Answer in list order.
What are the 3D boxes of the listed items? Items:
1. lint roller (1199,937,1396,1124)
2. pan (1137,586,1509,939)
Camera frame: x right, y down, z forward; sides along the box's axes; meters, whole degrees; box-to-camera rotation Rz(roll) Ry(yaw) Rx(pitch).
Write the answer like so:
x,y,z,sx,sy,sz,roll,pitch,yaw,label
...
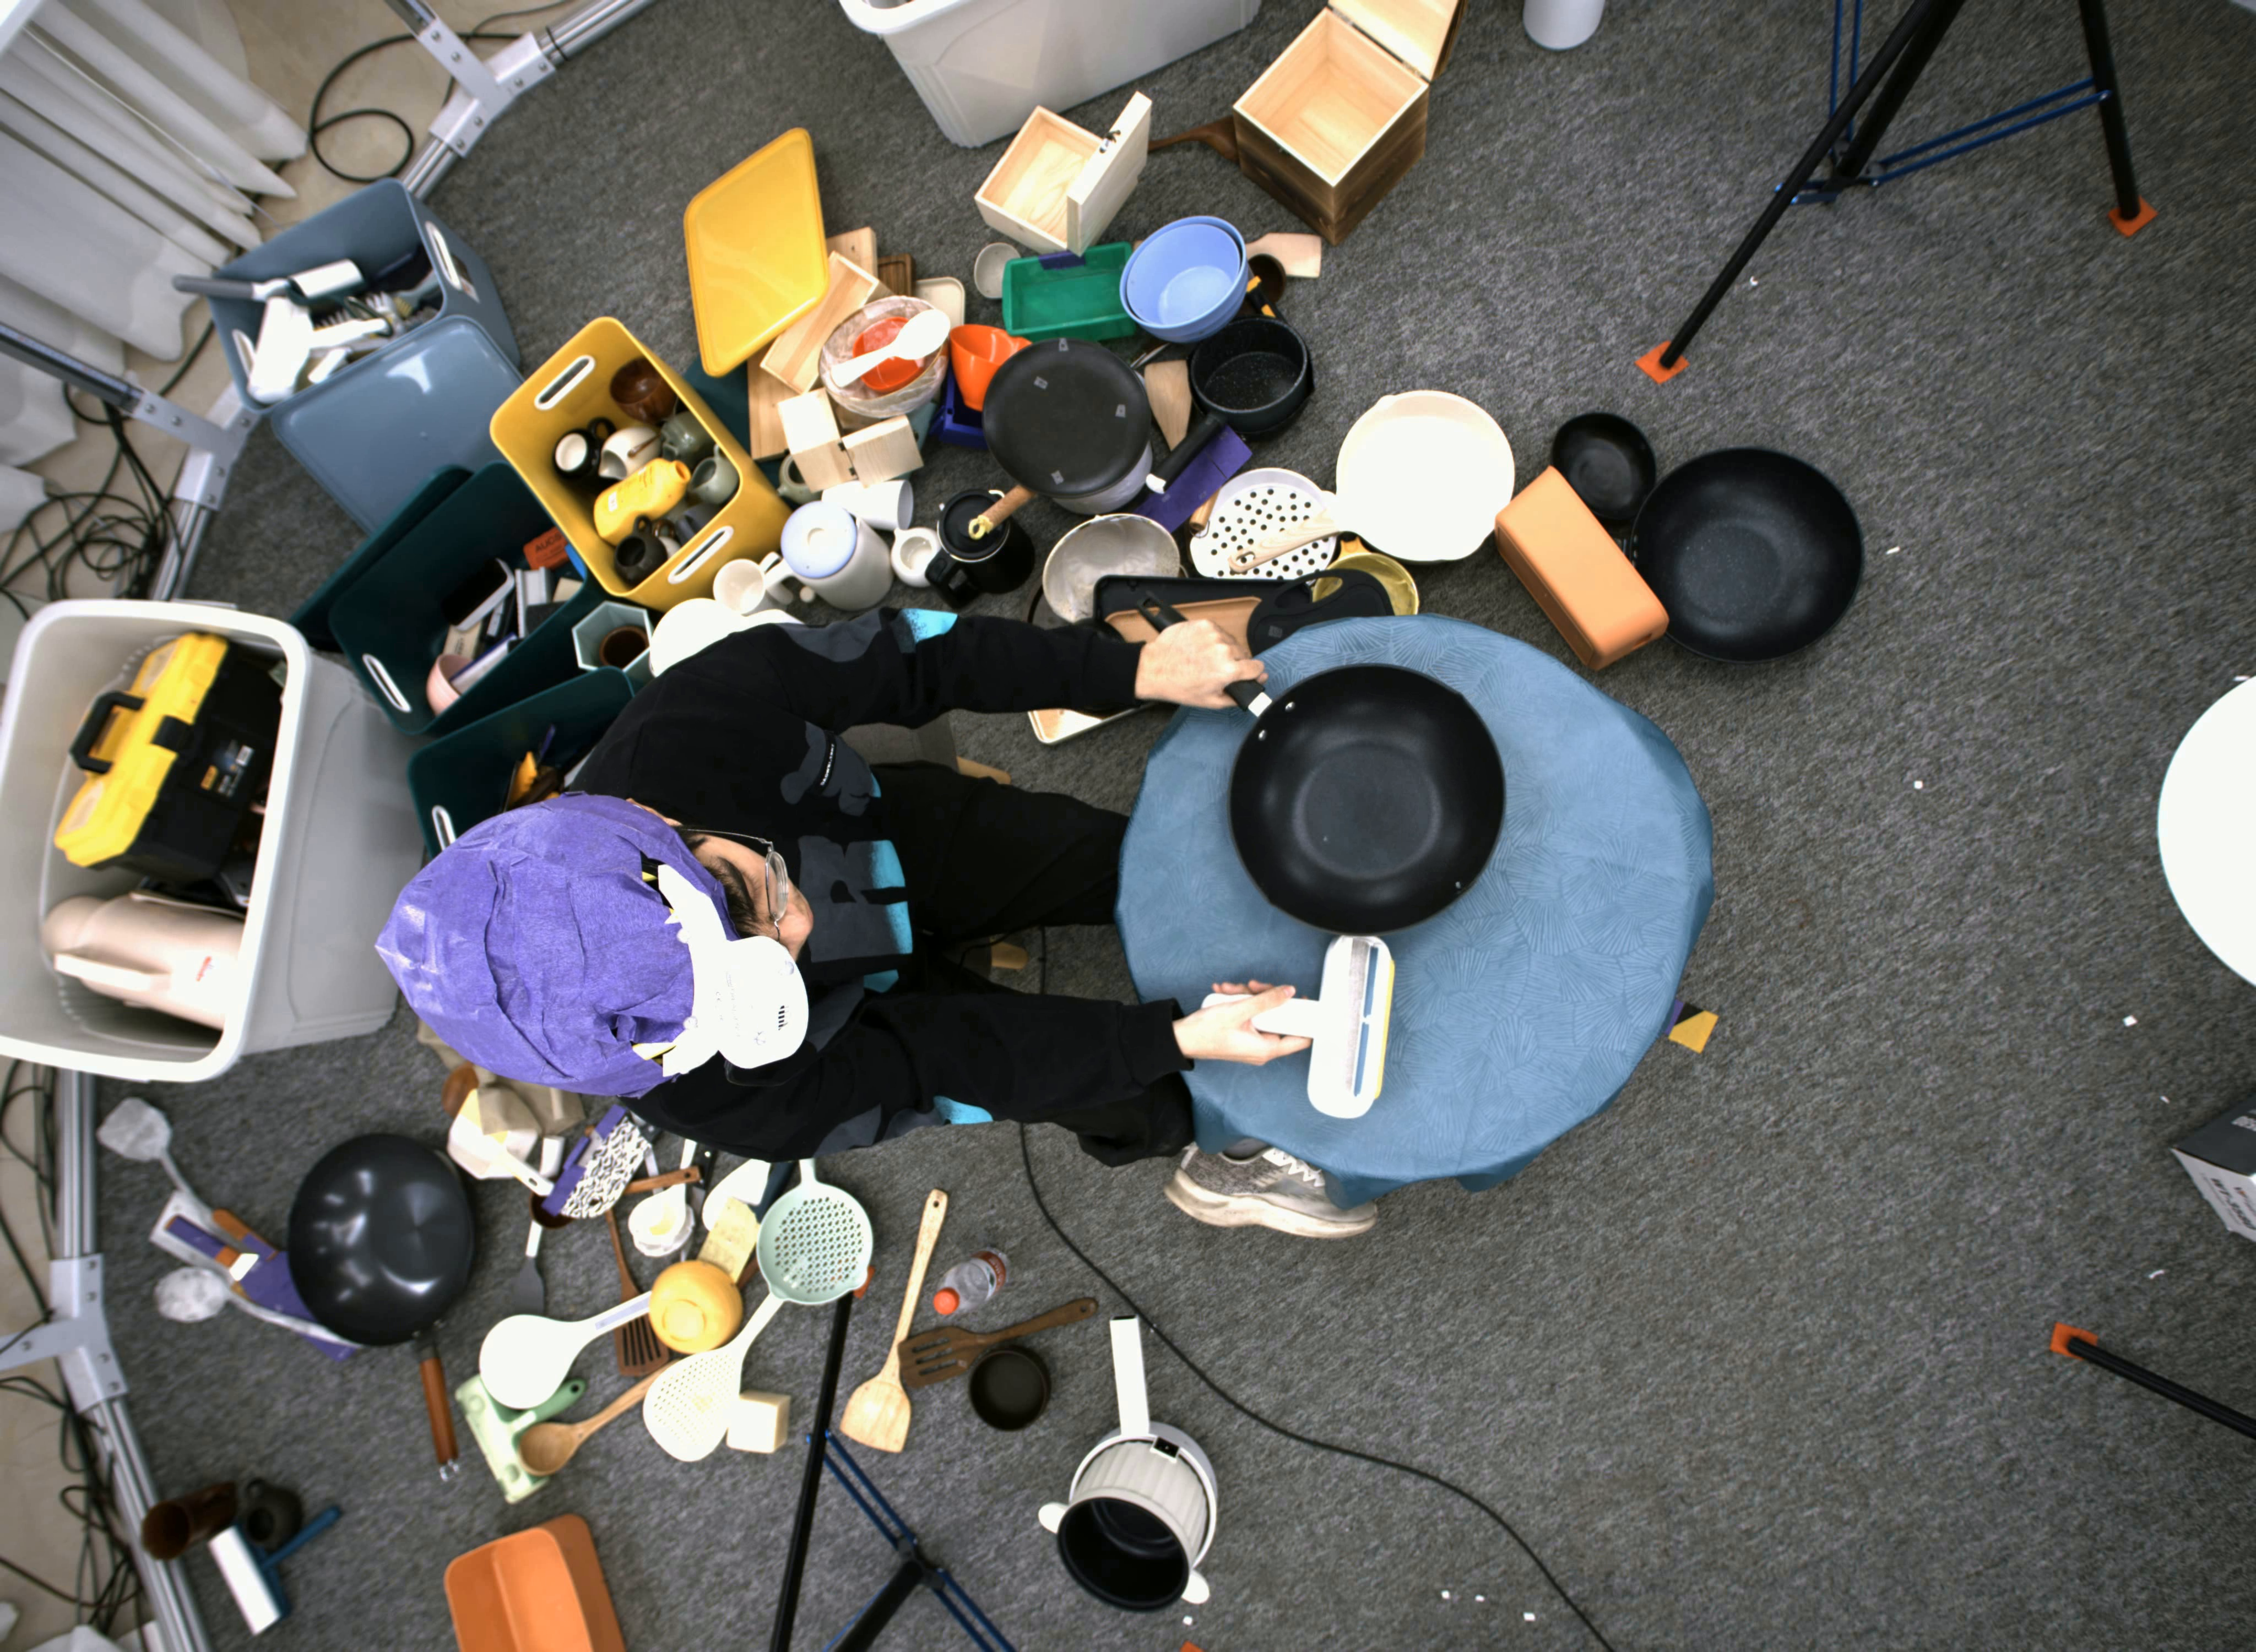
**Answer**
x,y,z,sx,sy,sz,roll,pitch,yaw,label
0.166,0.195,1.414,0.193,0.075,0.190,12,73,7,lint roller
0.181,-0.083,1.439,0.461,0.087,0.289,43,95,13,pan
